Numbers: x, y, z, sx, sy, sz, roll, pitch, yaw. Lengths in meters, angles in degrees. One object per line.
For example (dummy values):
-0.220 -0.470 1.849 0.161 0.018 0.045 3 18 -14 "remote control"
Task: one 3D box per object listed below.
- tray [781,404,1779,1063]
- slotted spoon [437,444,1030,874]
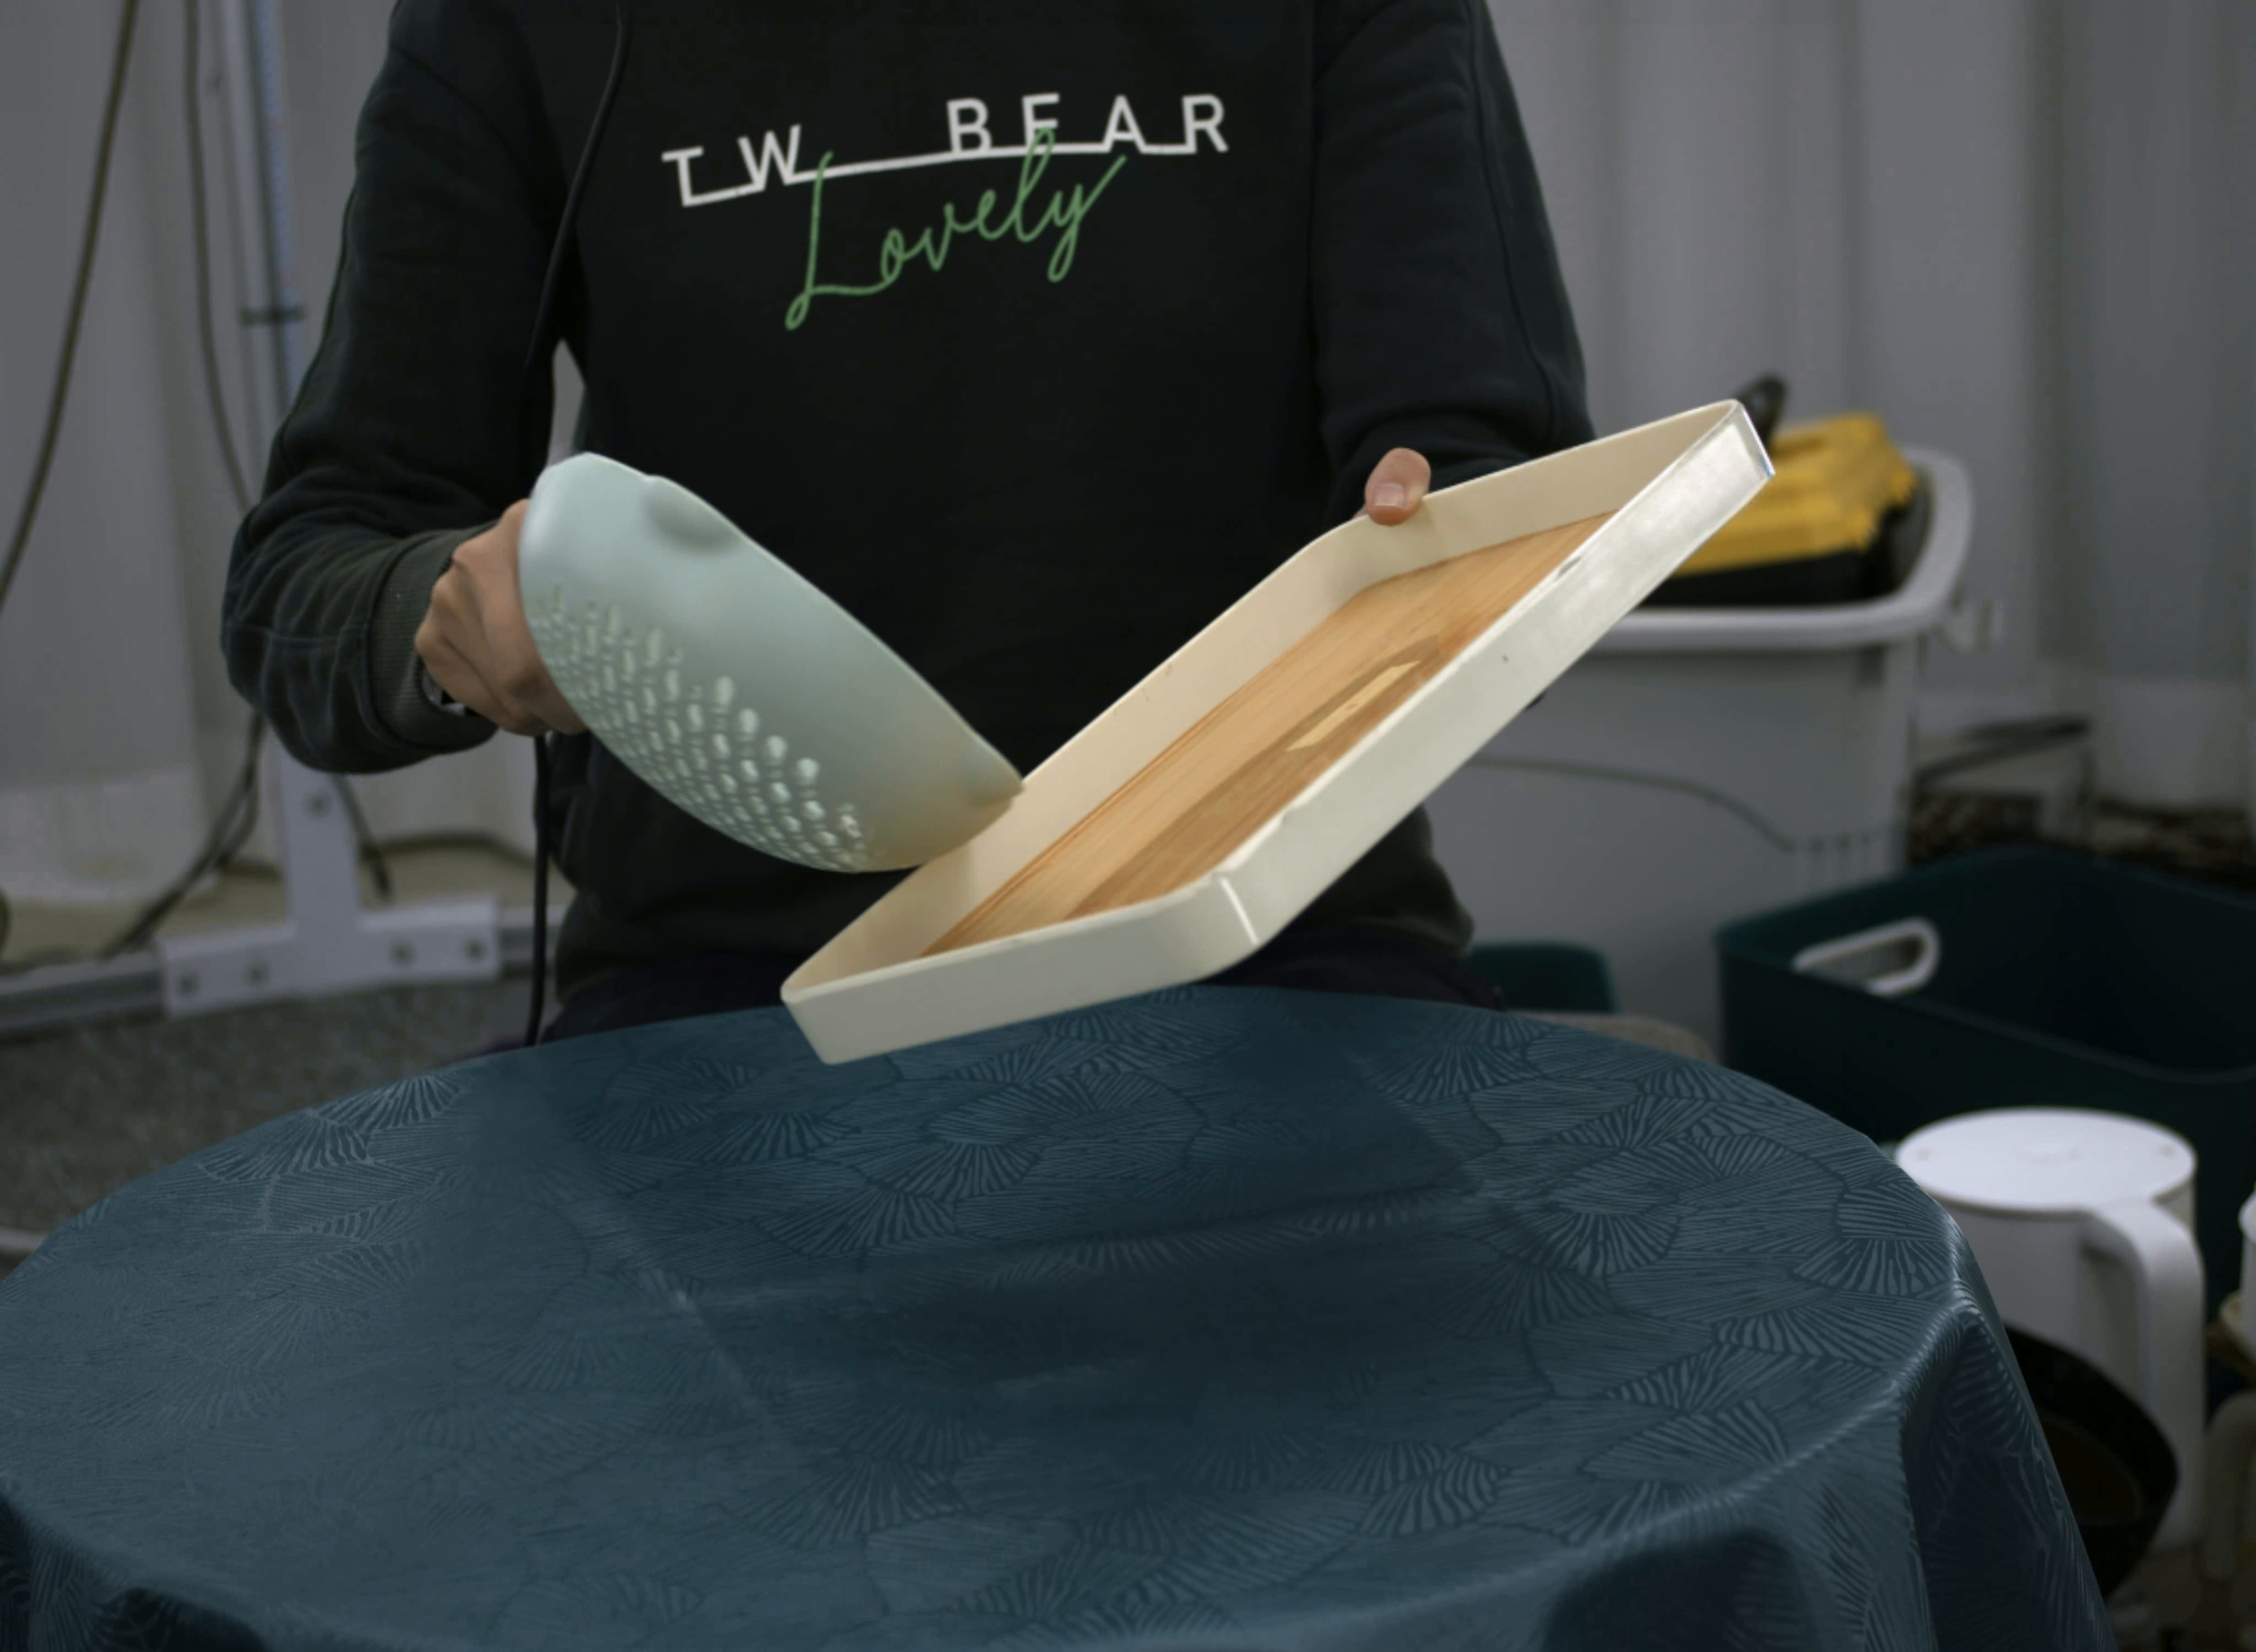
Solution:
0.048 -0.028 1.605 0.191 0.027 0.302 -14 19 47 "tray"
-0.149 -0.047 1.683 0.075 0.168 0.360 -50 18 -8 "slotted spoon"
